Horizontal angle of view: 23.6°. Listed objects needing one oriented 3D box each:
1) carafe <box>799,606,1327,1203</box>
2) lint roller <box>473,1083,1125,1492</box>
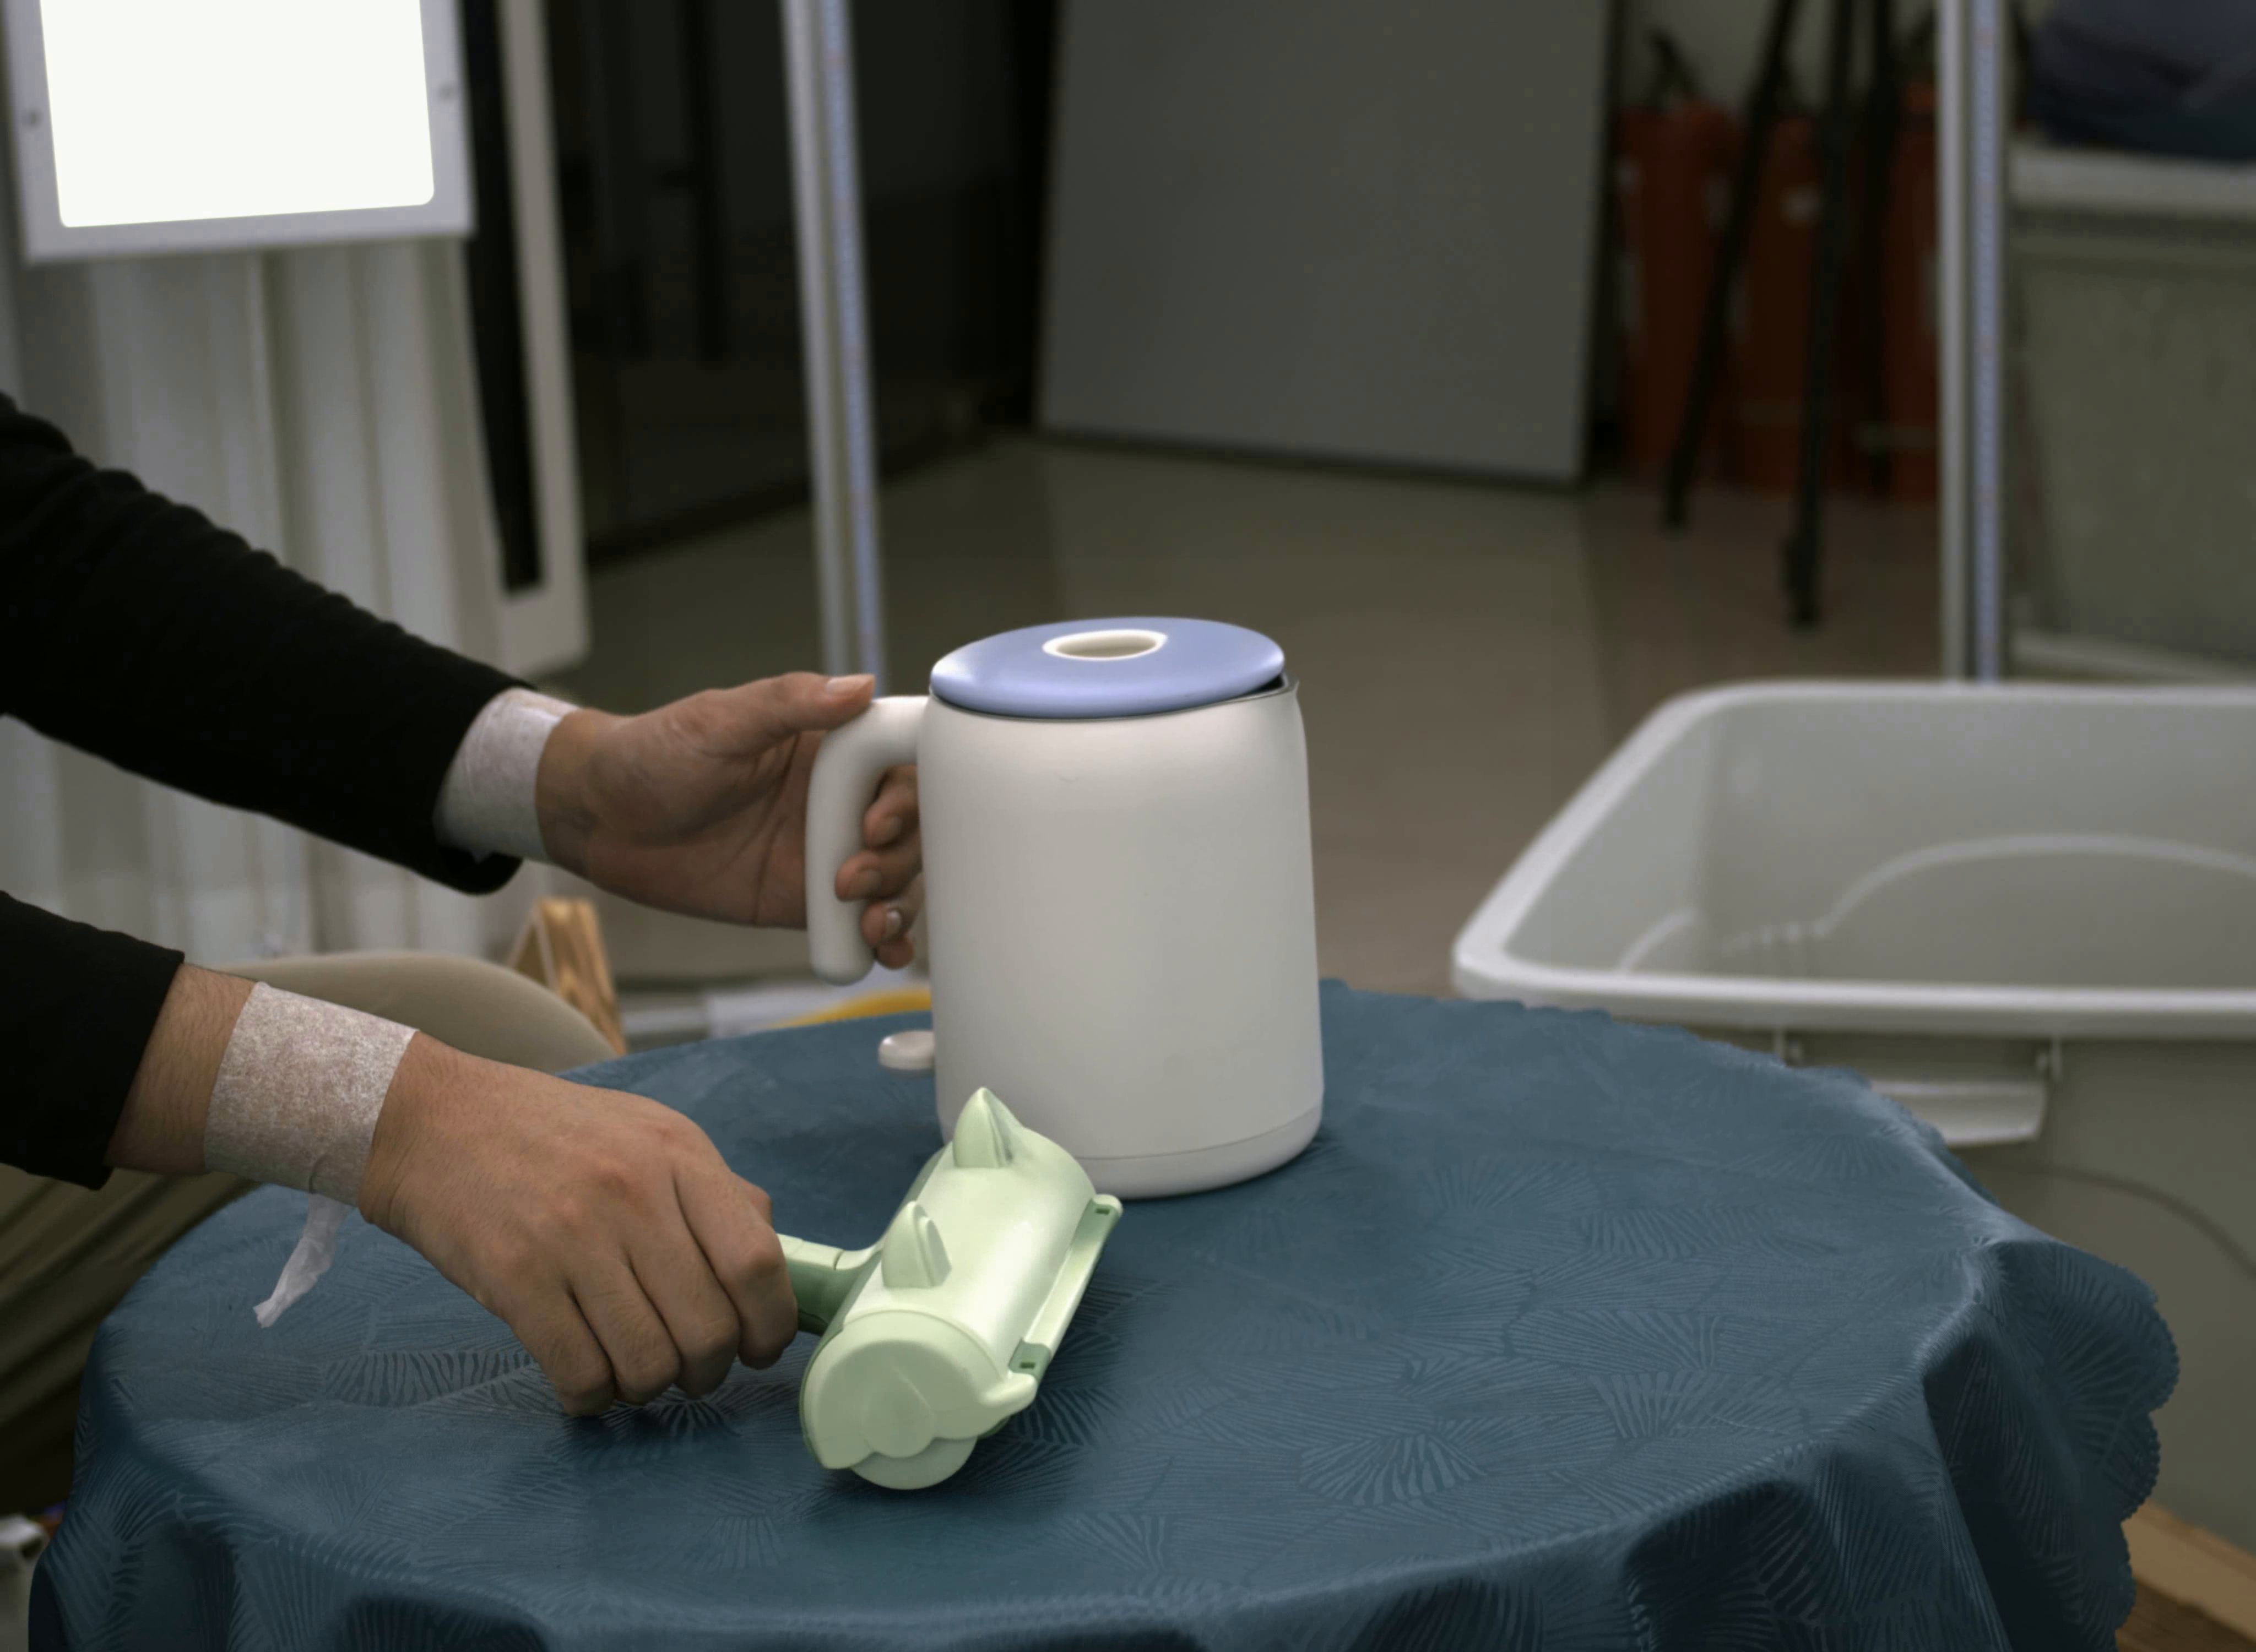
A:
[{"bbox_3d":[-0.025,0.025,1.806,0.191,0.184,0.130,0,13,25],"label":"carafe"},{"bbox_3d":[-0.102,0.121,1.599,0.182,0.083,0.198,12,15,7],"label":"lint roller"}]
